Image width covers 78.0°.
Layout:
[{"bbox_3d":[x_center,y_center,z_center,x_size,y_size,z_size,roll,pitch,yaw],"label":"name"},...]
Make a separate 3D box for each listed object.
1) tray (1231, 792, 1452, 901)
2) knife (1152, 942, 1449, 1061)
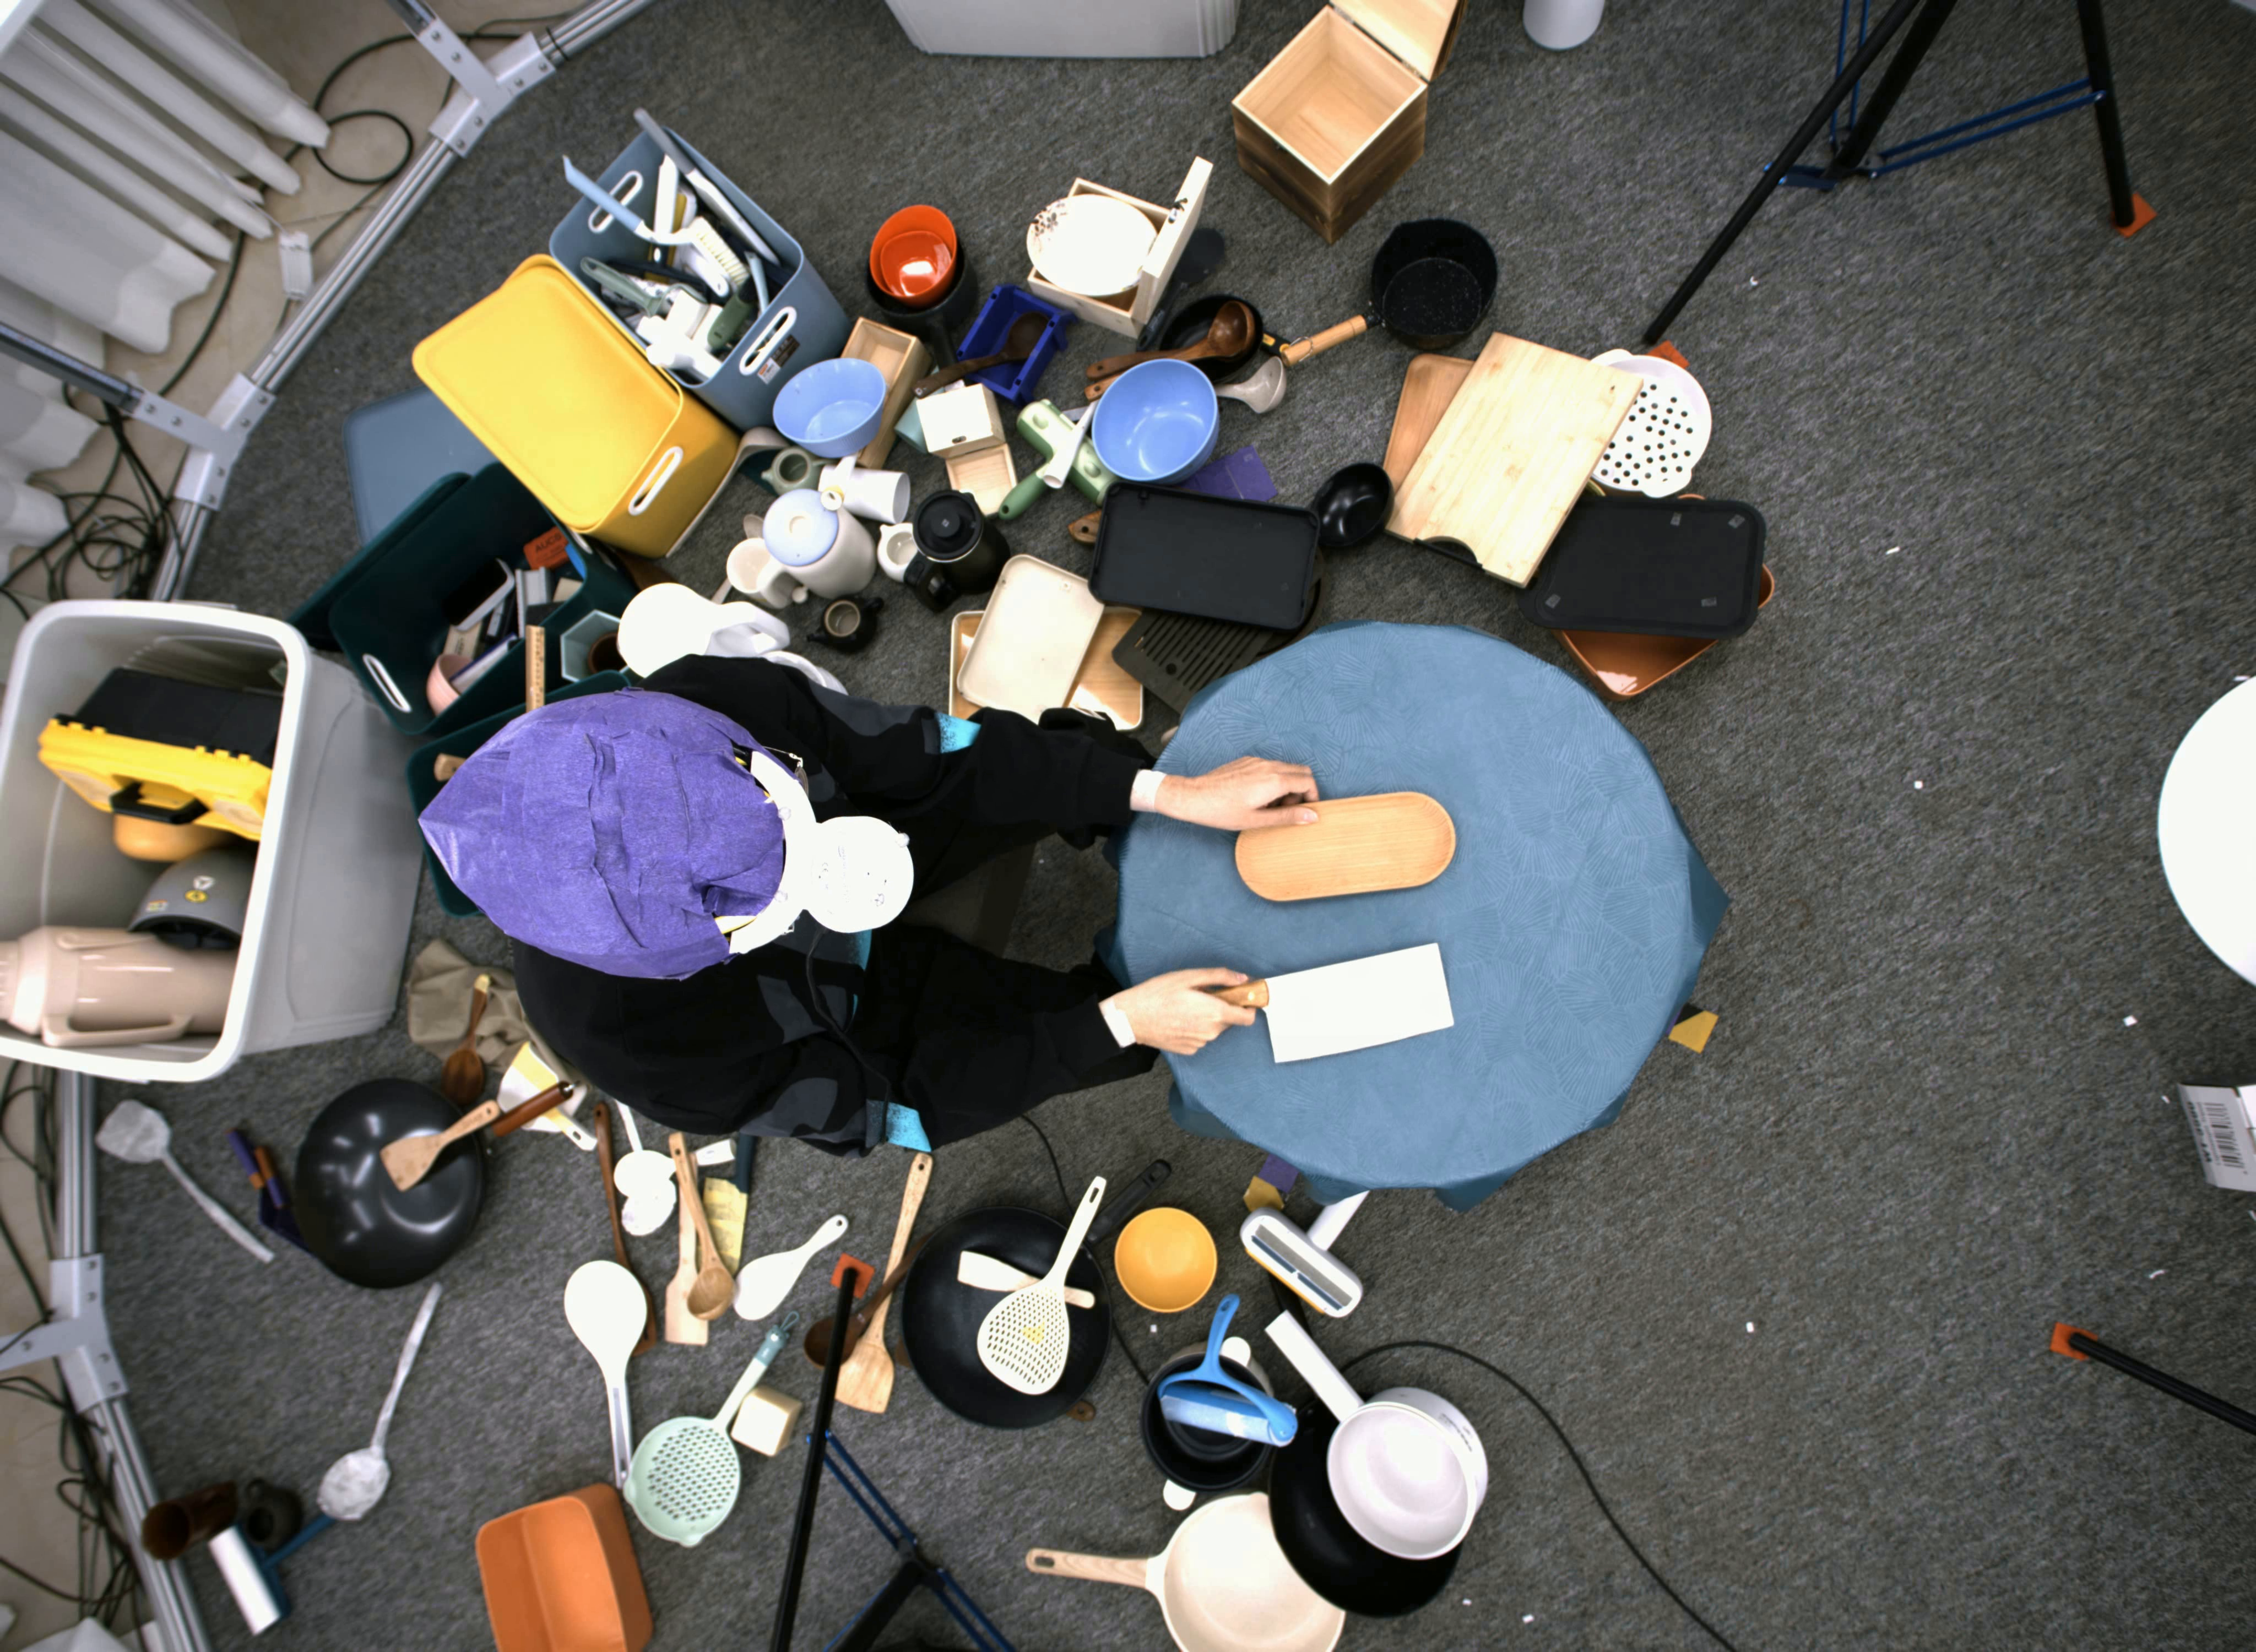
[{"bbox_3d":[0.224,0.021,1.454,0.232,0.020,0.101,-6,89,7],"label":"tray"},{"bbox_3d":[0.182,0.193,1.447,0.306,0.021,0.093,-12,92,3],"label":"knife"}]
